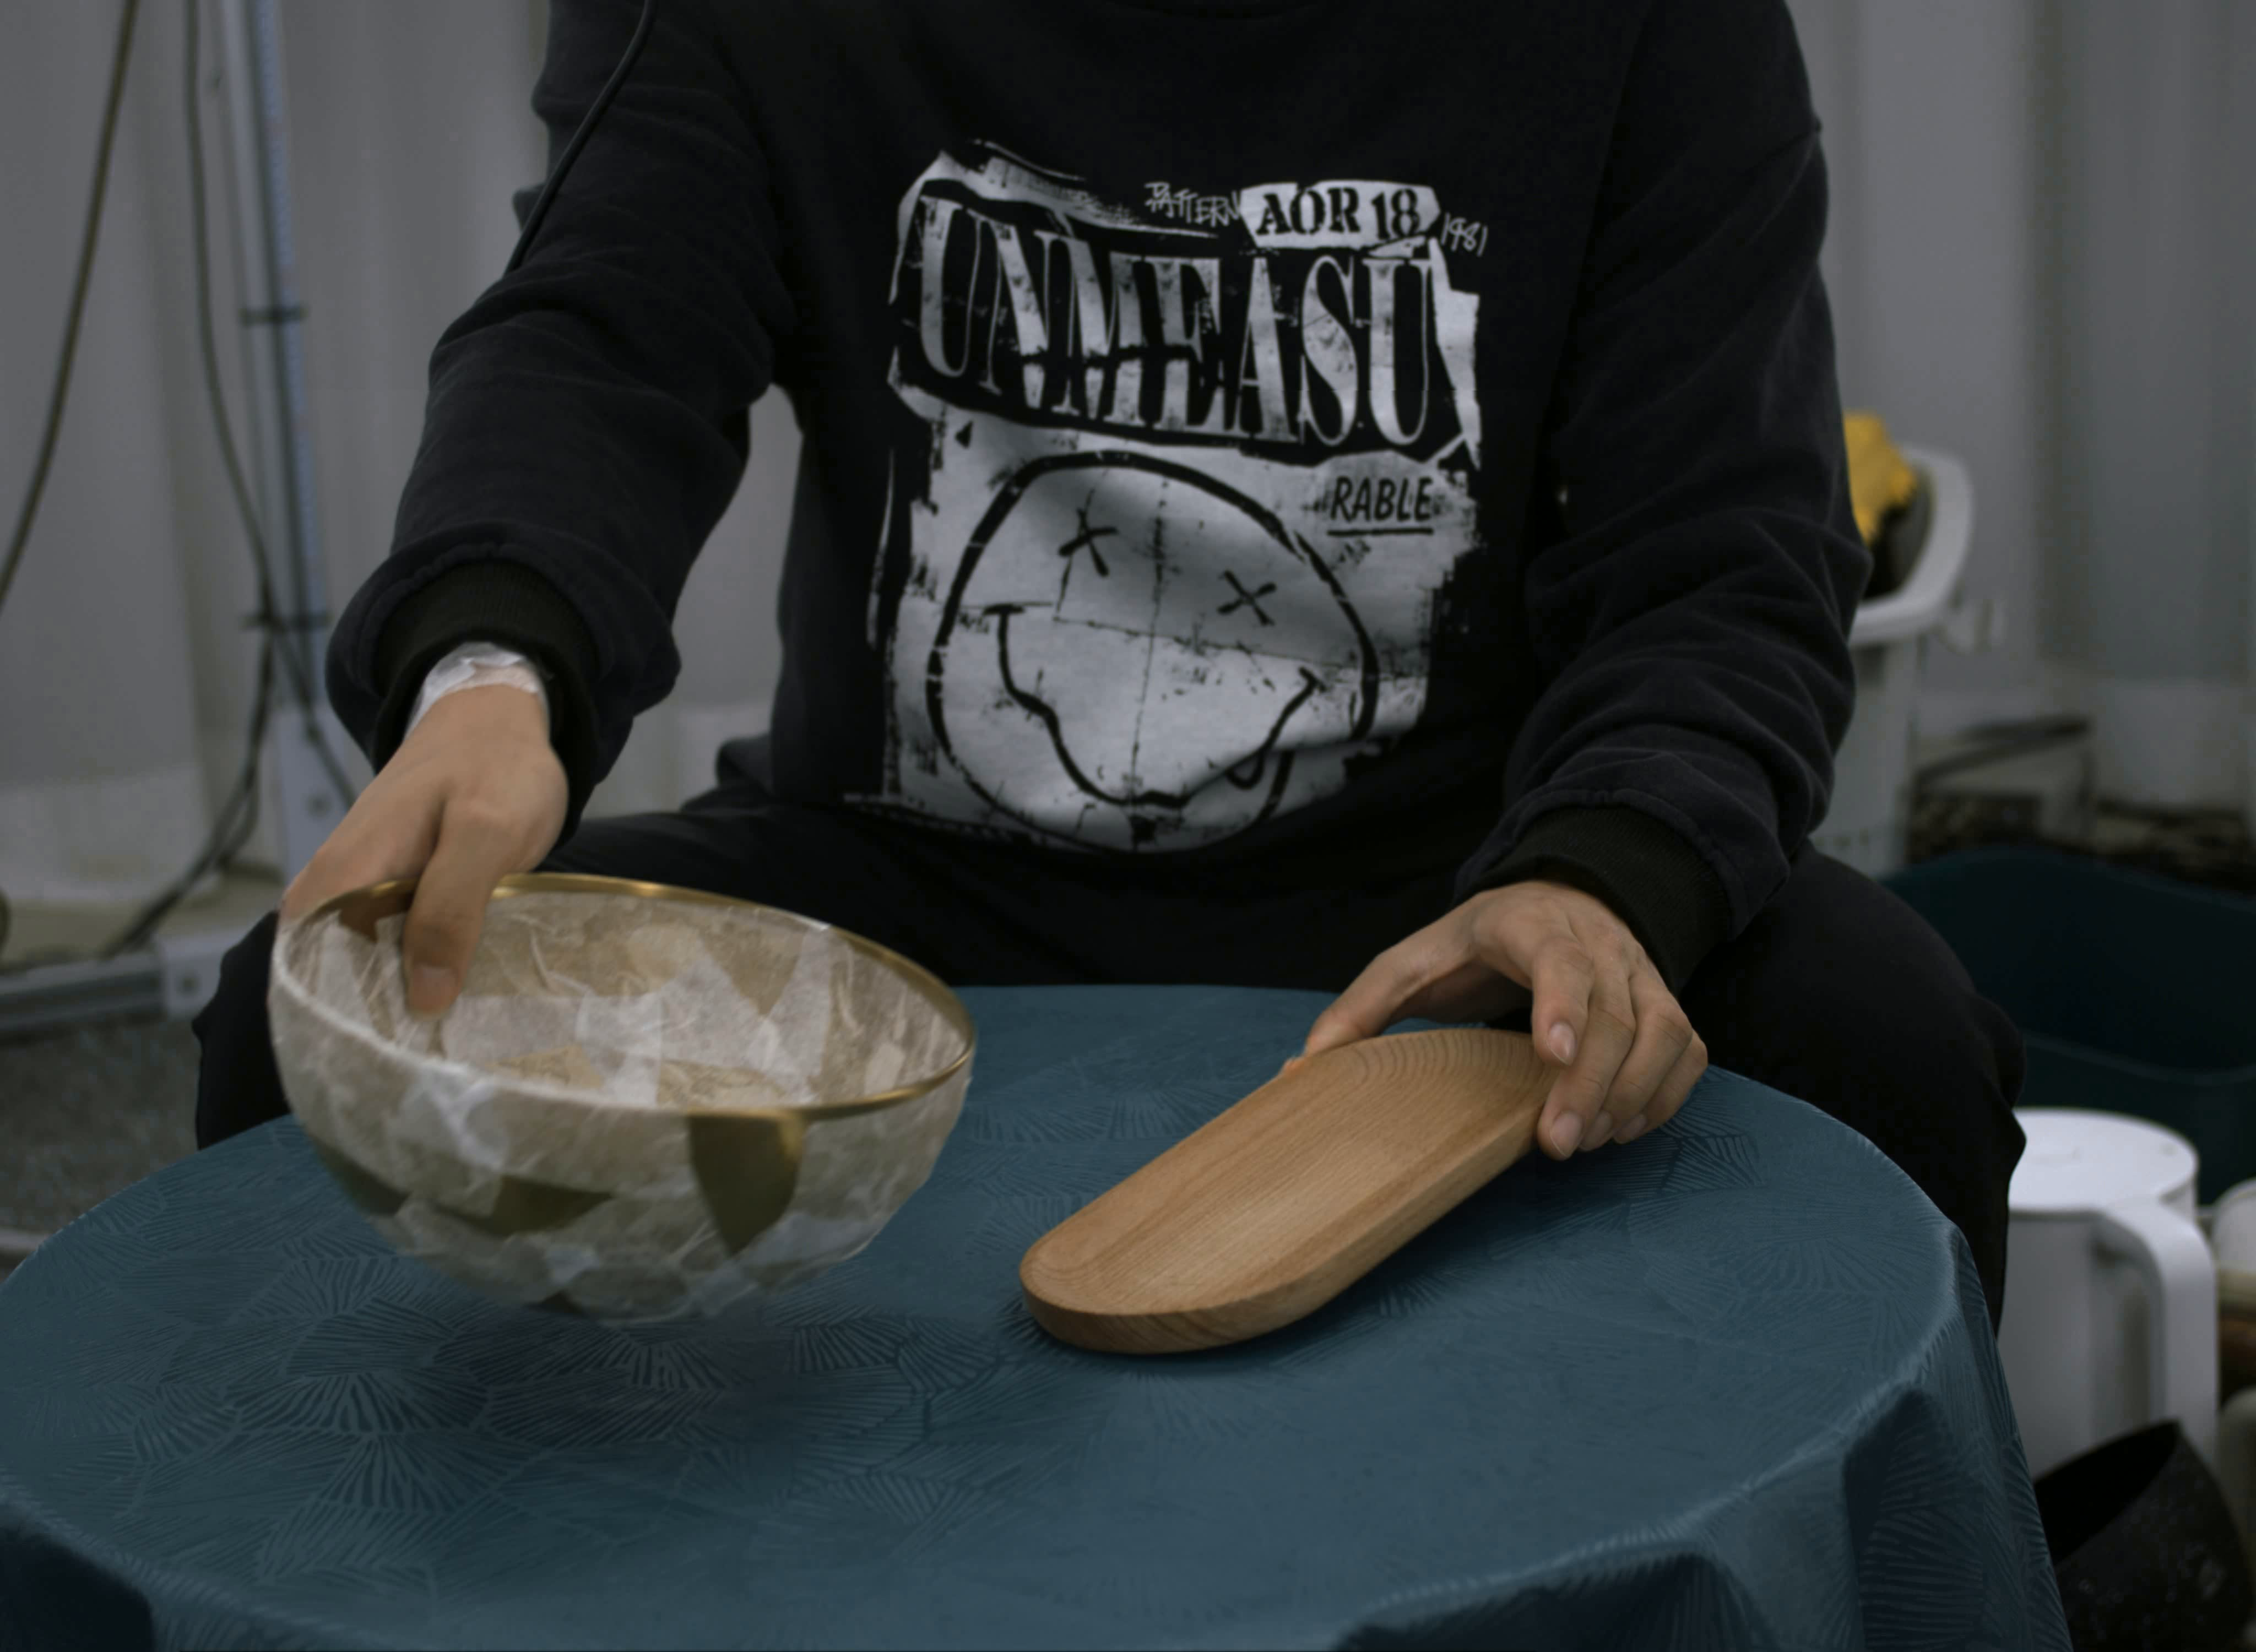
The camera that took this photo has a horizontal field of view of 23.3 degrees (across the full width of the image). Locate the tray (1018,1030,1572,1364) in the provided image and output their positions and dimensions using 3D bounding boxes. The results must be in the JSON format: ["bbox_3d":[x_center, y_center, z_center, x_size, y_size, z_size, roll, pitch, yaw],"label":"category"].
[{"bbox_3d":[0.054,0.110,1.654,0.102,0.020,0.232,0,21,35],"label":"tray"}]

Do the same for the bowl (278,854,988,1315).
[{"bbox_3d":[-0.141,0.084,1.565,0.214,0.094,0.216,8,15,-2],"label":"bowl"}]
